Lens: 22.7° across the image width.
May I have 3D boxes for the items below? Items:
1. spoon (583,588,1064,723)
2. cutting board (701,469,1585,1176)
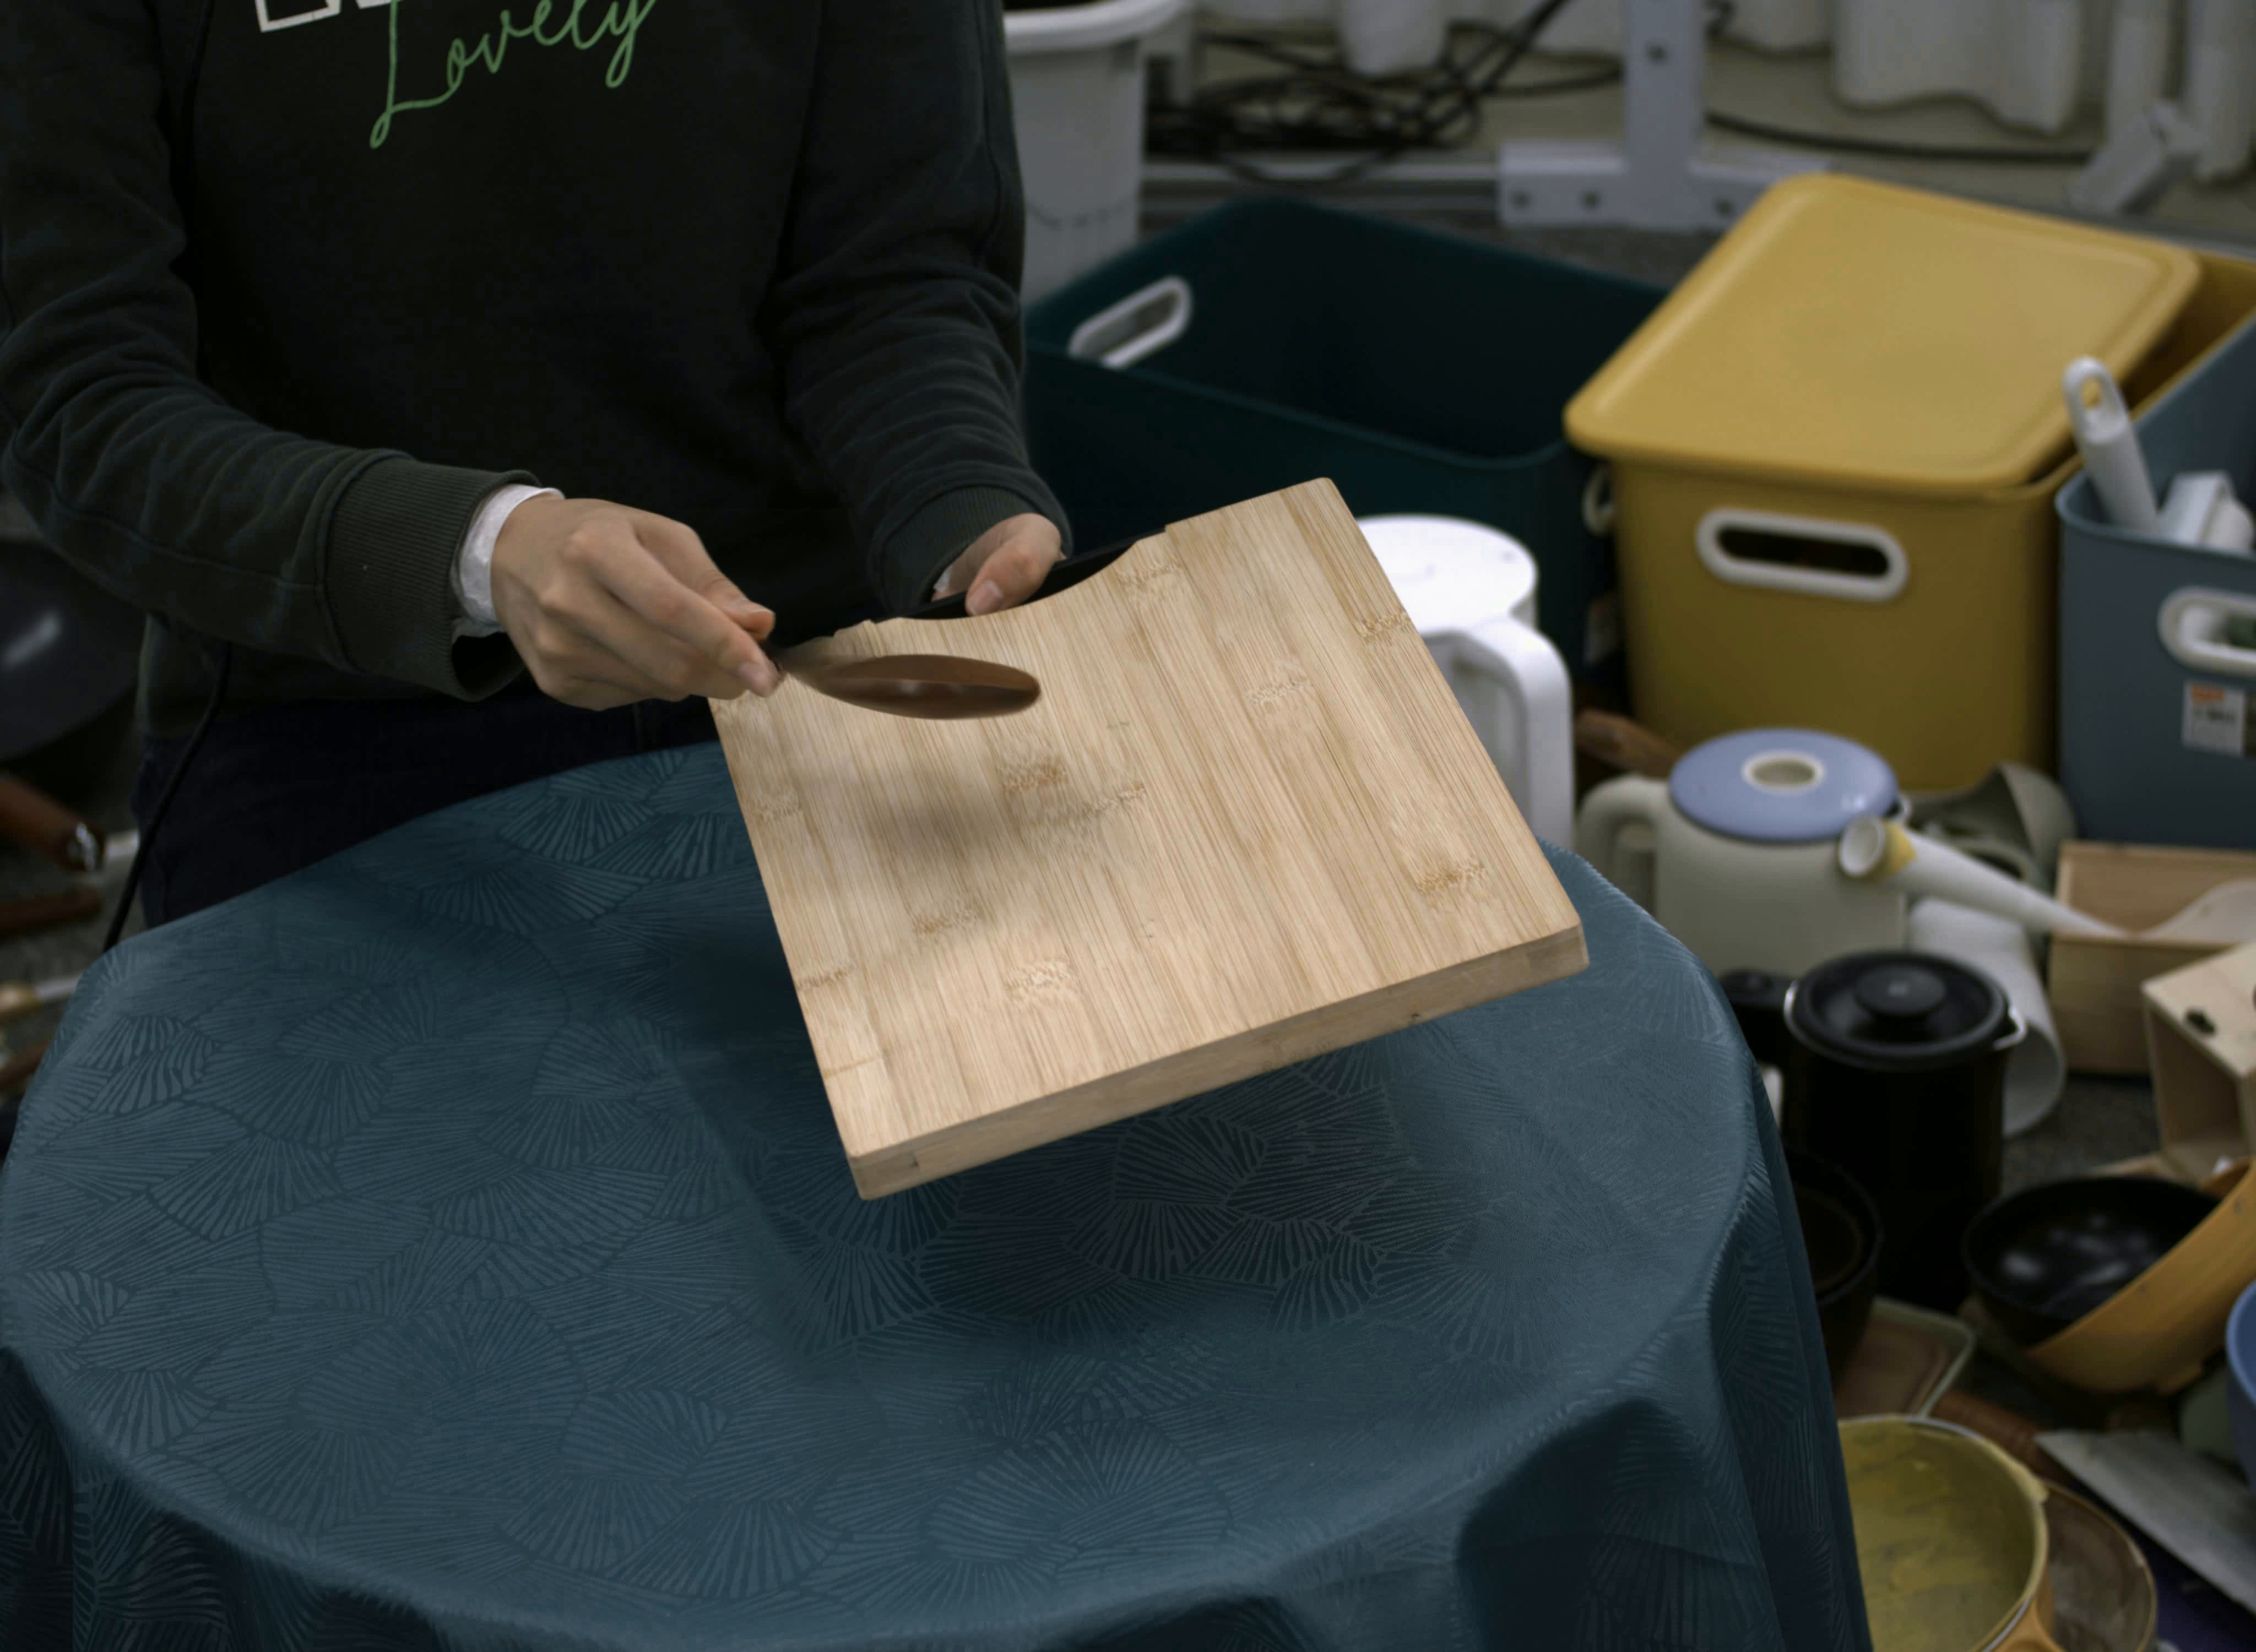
[{"bbox_3d":[-0.109,-0.056,1.901,0.215,0.017,0.076,14,14,42],"label":"spoon"},{"bbox_3d":[-0.005,-0.008,1.892,0.250,0.023,0.353,-17,29,-5],"label":"cutting board"}]
